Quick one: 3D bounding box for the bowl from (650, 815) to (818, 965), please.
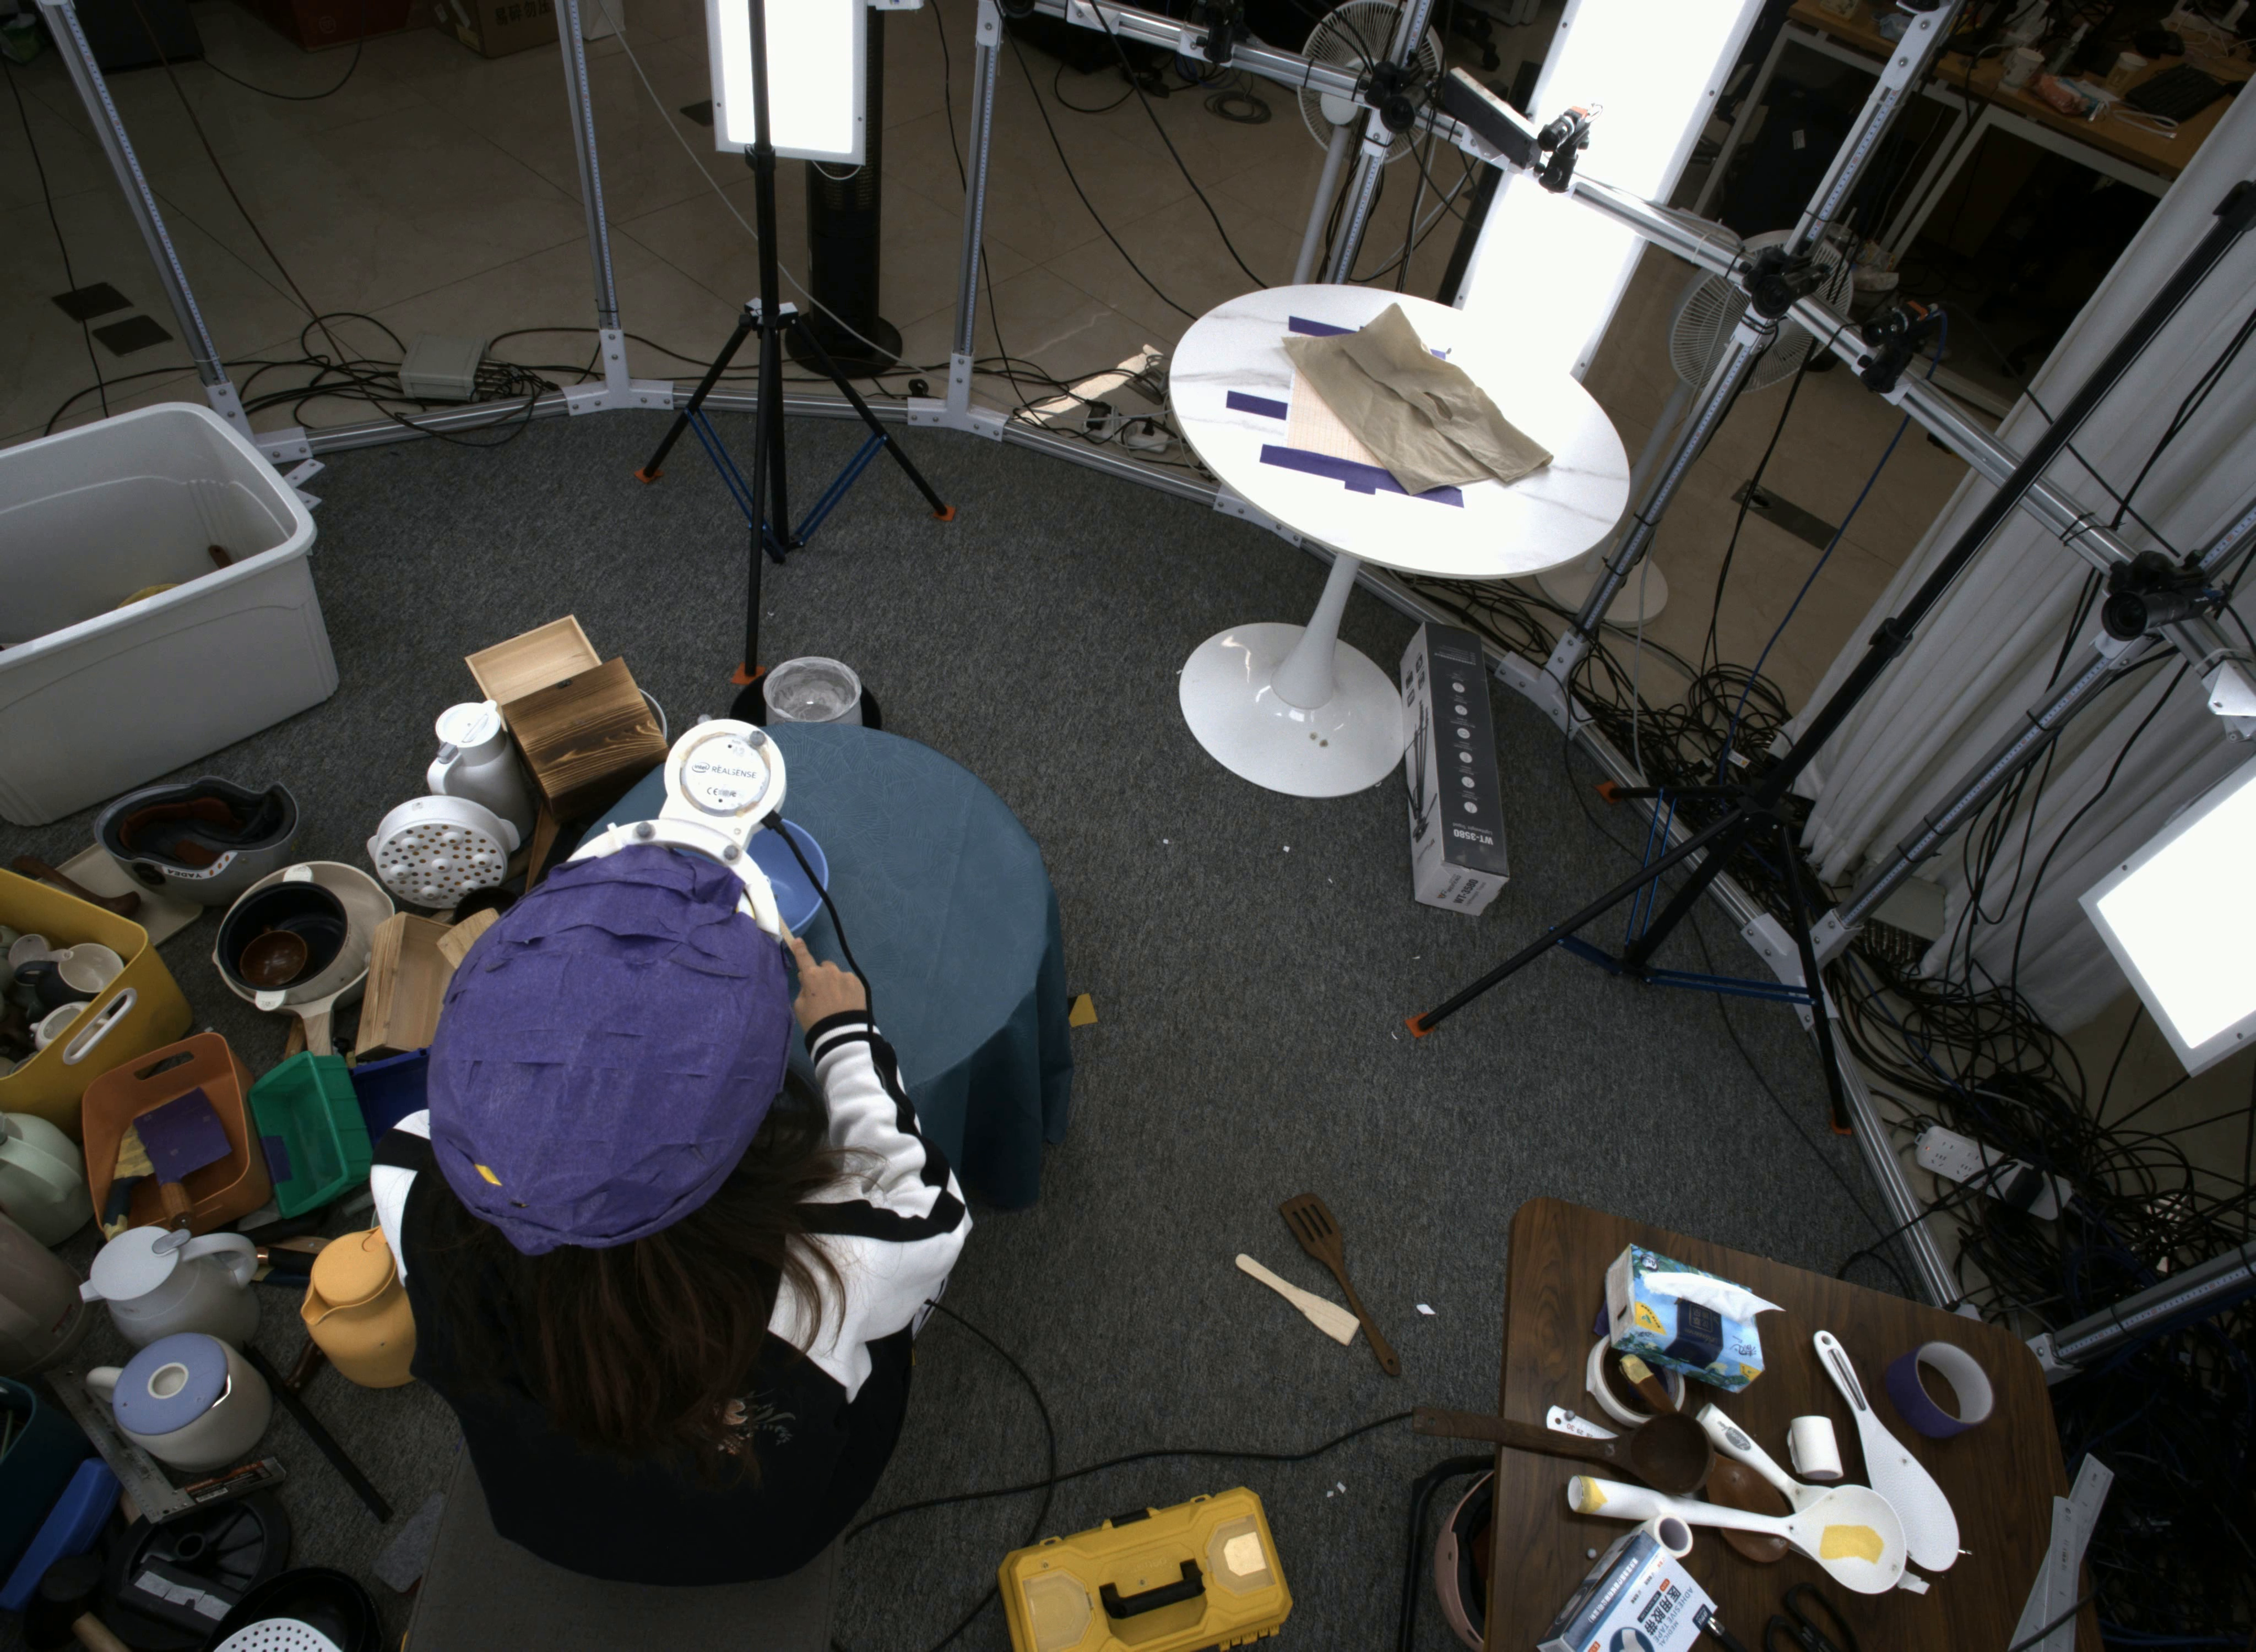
[{"bbox_3d":[-0.478,0.091,1.579,0.196,0.097,0.193,9,52,-10],"label":"bowl"}]

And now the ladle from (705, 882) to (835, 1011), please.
[{"bbox_3d":[-0.408,0.155,1.487,0.073,0.074,0.246,-8,42,-45],"label":"ladle"}]
